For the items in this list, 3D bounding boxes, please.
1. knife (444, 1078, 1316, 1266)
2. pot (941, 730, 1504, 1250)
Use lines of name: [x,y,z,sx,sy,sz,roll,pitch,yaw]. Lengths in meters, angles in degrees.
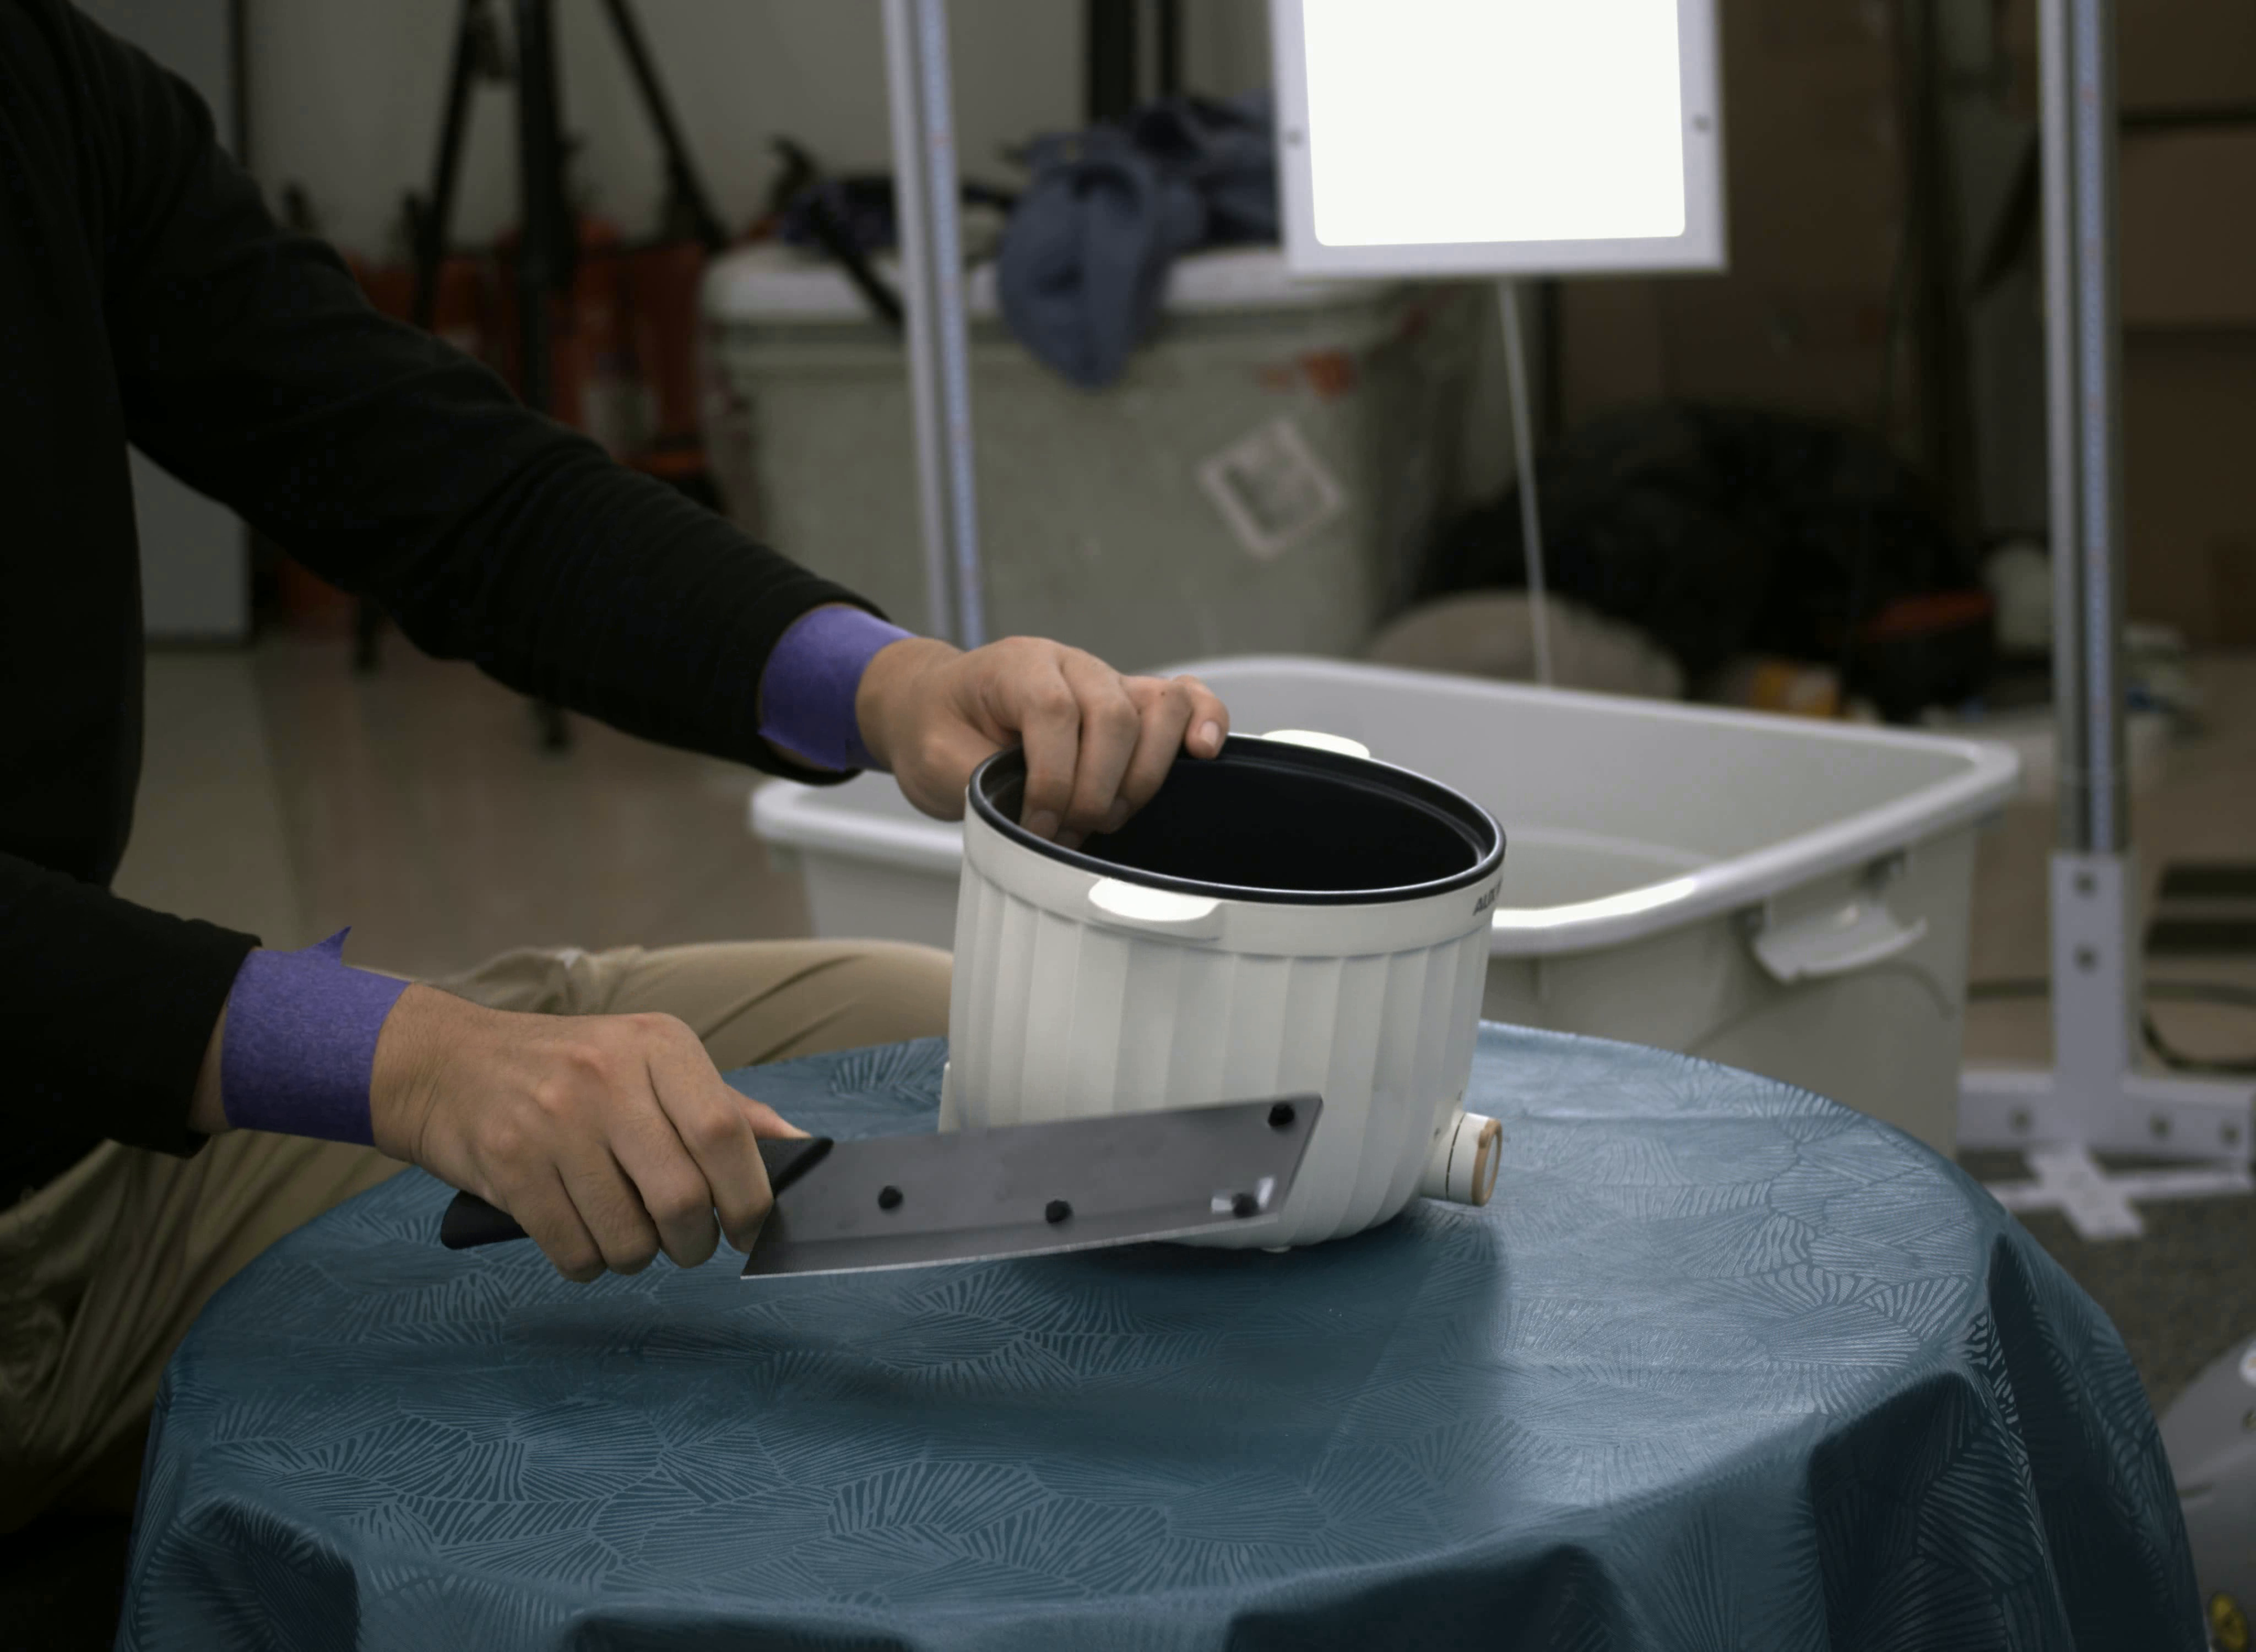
knife: [-0.083,0.112,1.723,0.308,0.021,0.079,-5,34,29]
pot: [0.035,0.057,1.850,0.192,0.143,0.236,8,18,16]
